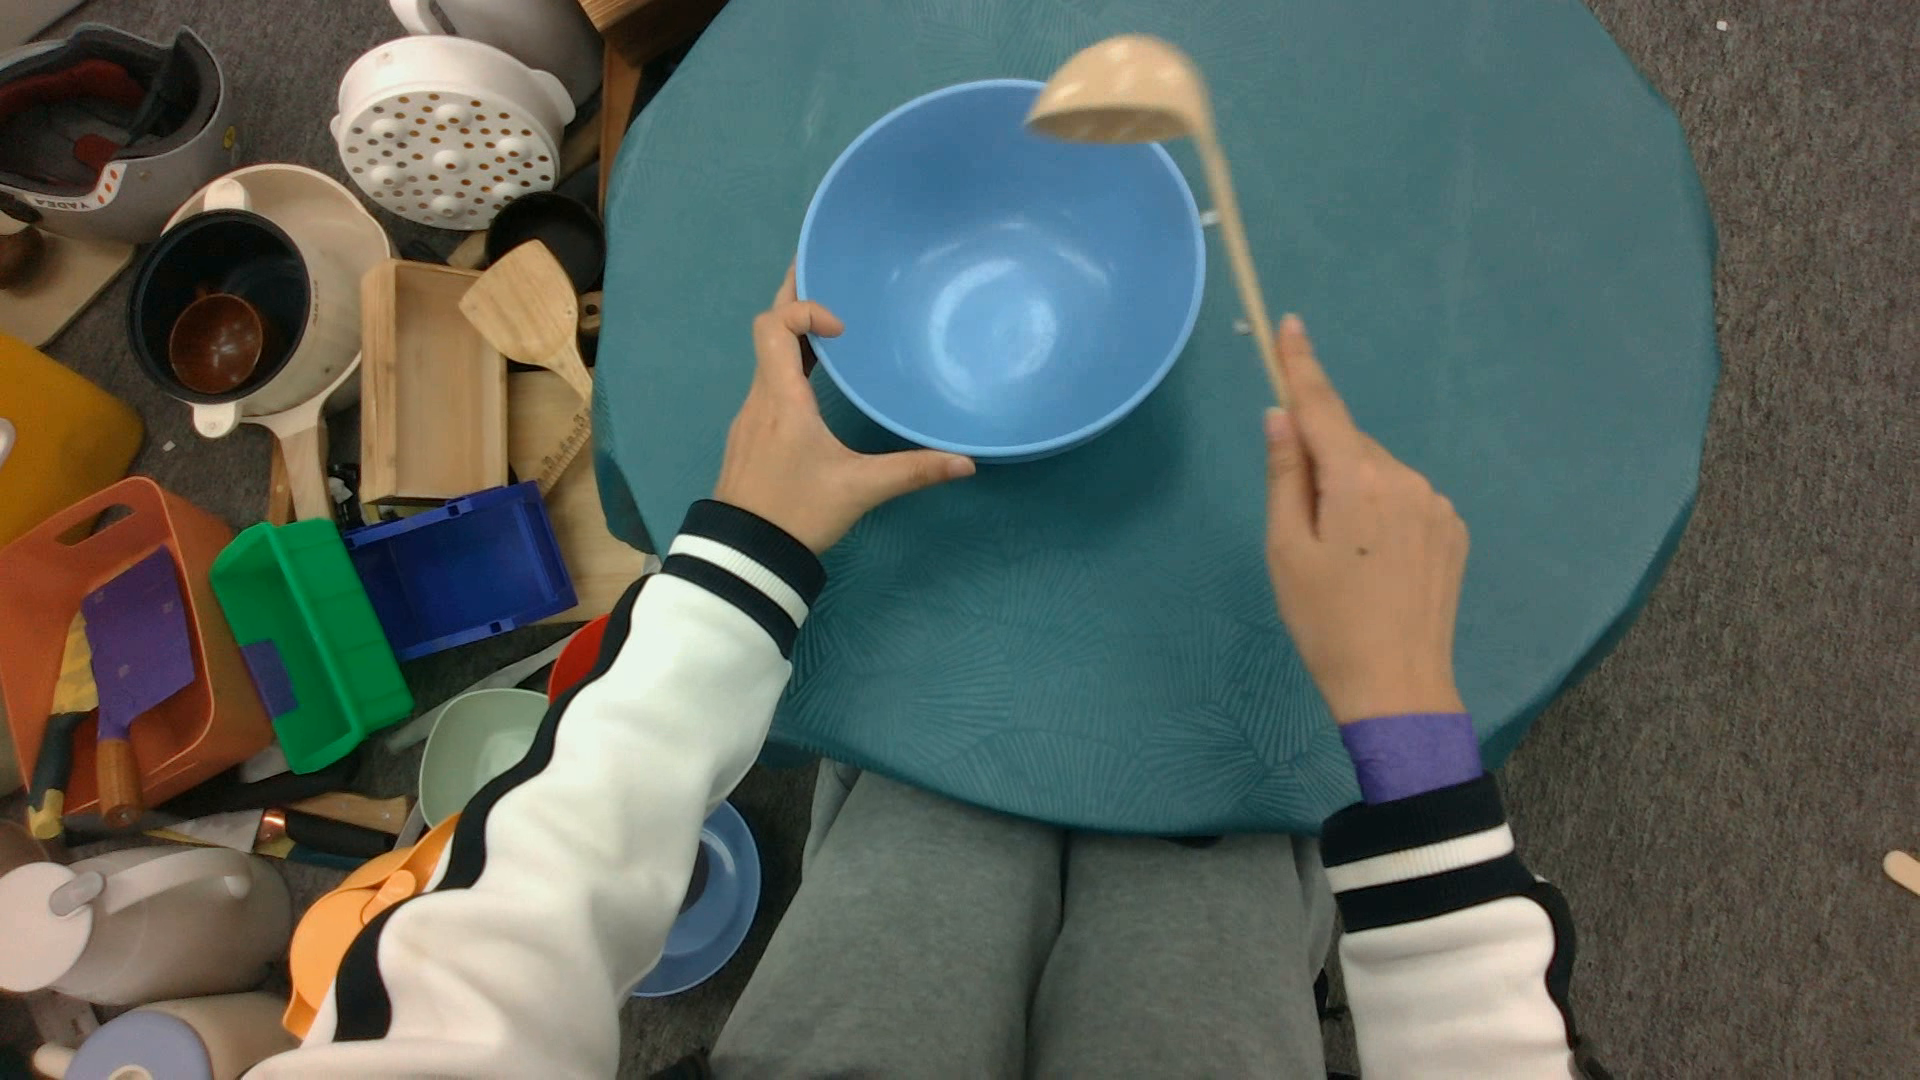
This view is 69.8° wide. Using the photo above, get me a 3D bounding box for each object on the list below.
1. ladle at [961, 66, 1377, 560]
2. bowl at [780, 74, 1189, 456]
[{"bbox_3d":[0.083,-0.087,0.589,0.072,0.072,0.254,-33,79,30],"label":"ladle"},{"bbox_3d":[0.013,-0.126,0.704,0.196,0.095,0.197,0,75,1],"label":"bowl"}]
